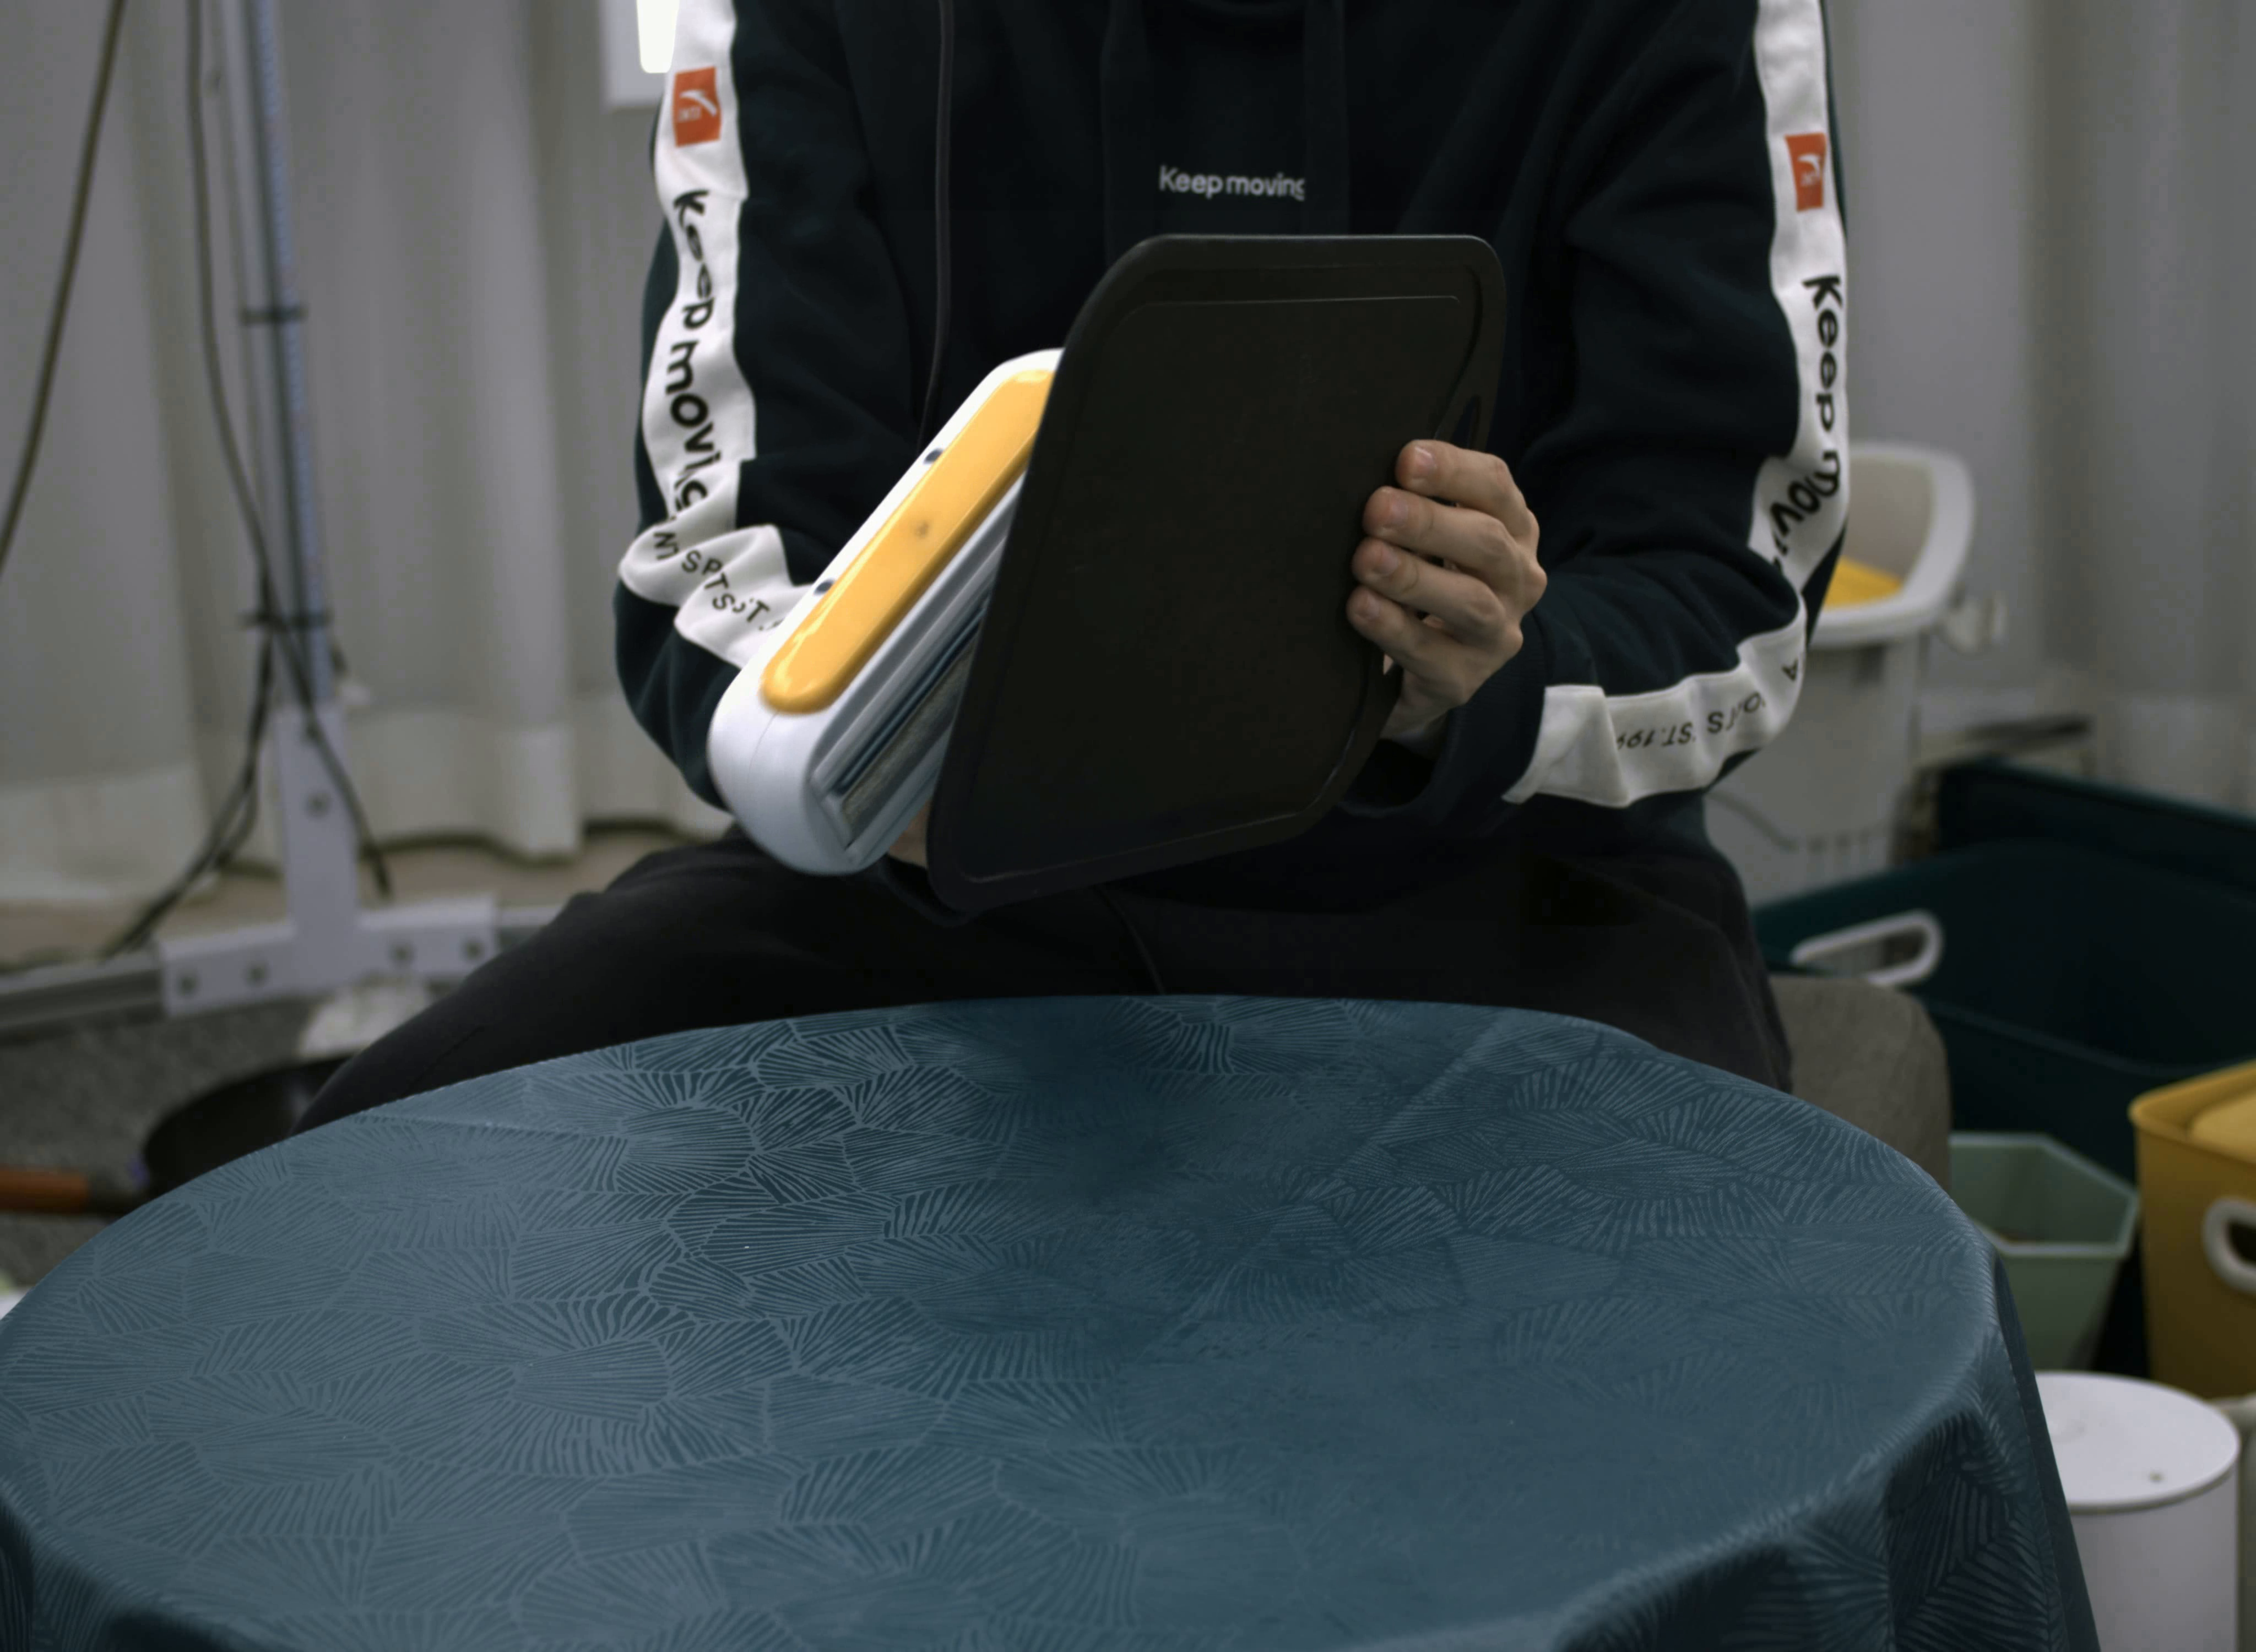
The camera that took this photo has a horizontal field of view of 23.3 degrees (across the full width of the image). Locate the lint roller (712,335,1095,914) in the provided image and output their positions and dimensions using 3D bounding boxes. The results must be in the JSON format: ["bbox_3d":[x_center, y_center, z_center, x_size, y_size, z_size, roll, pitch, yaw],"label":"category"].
[{"bbox_3d":[-0.052,-0.037,1.738,0.074,0.190,0.194,20,57,27],"label":"lint roller"}]

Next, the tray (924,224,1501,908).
[{"bbox_3d":[0.037,-0.084,1.699,0.010,0.210,0.324,22,14,24],"label":"tray"}]
